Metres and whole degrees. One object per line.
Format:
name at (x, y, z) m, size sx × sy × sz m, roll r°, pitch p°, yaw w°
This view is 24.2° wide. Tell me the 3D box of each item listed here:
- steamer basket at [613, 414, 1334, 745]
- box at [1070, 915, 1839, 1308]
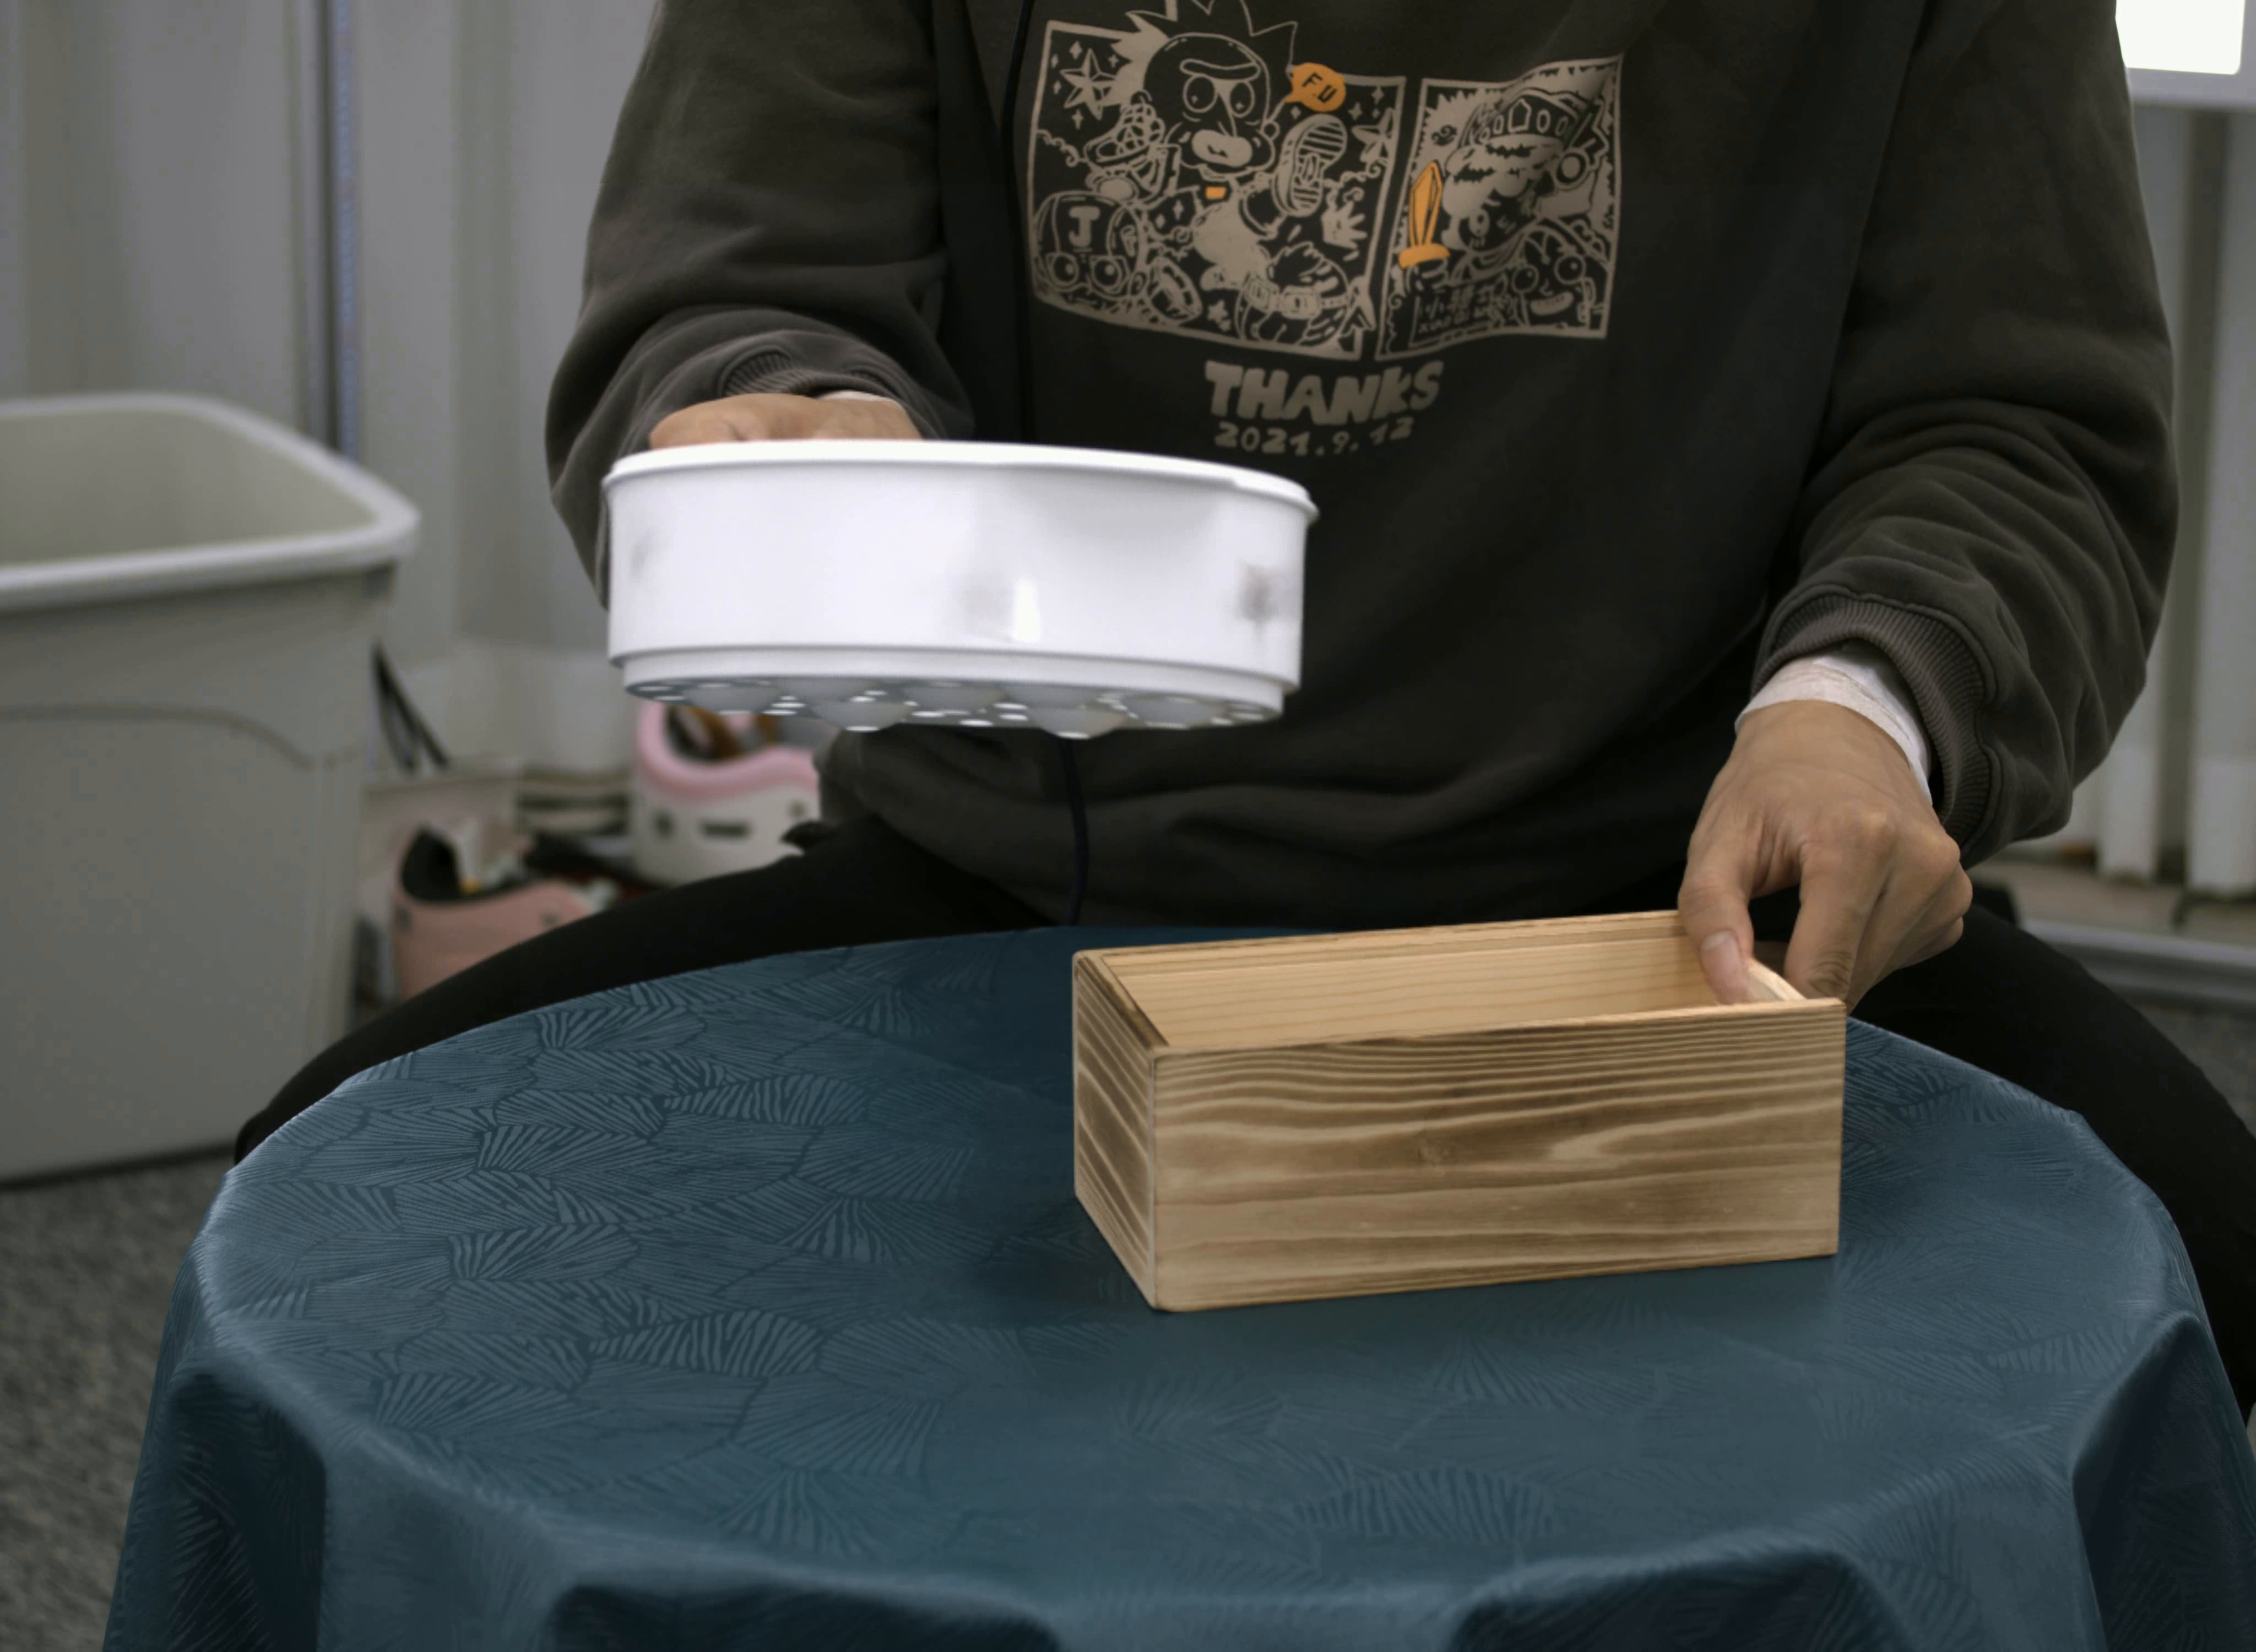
steamer basket at (-0.044, -0.064, 1.465) m, size 0.203 × 0.069 × 0.229 m, roll 6°, pitch -5°, yaw -28°
box at (0.096, 0.084, 1.588) m, size 0.211 × 0.081 × 0.106 m, roll -3°, pitch 16°, yaw -14°
